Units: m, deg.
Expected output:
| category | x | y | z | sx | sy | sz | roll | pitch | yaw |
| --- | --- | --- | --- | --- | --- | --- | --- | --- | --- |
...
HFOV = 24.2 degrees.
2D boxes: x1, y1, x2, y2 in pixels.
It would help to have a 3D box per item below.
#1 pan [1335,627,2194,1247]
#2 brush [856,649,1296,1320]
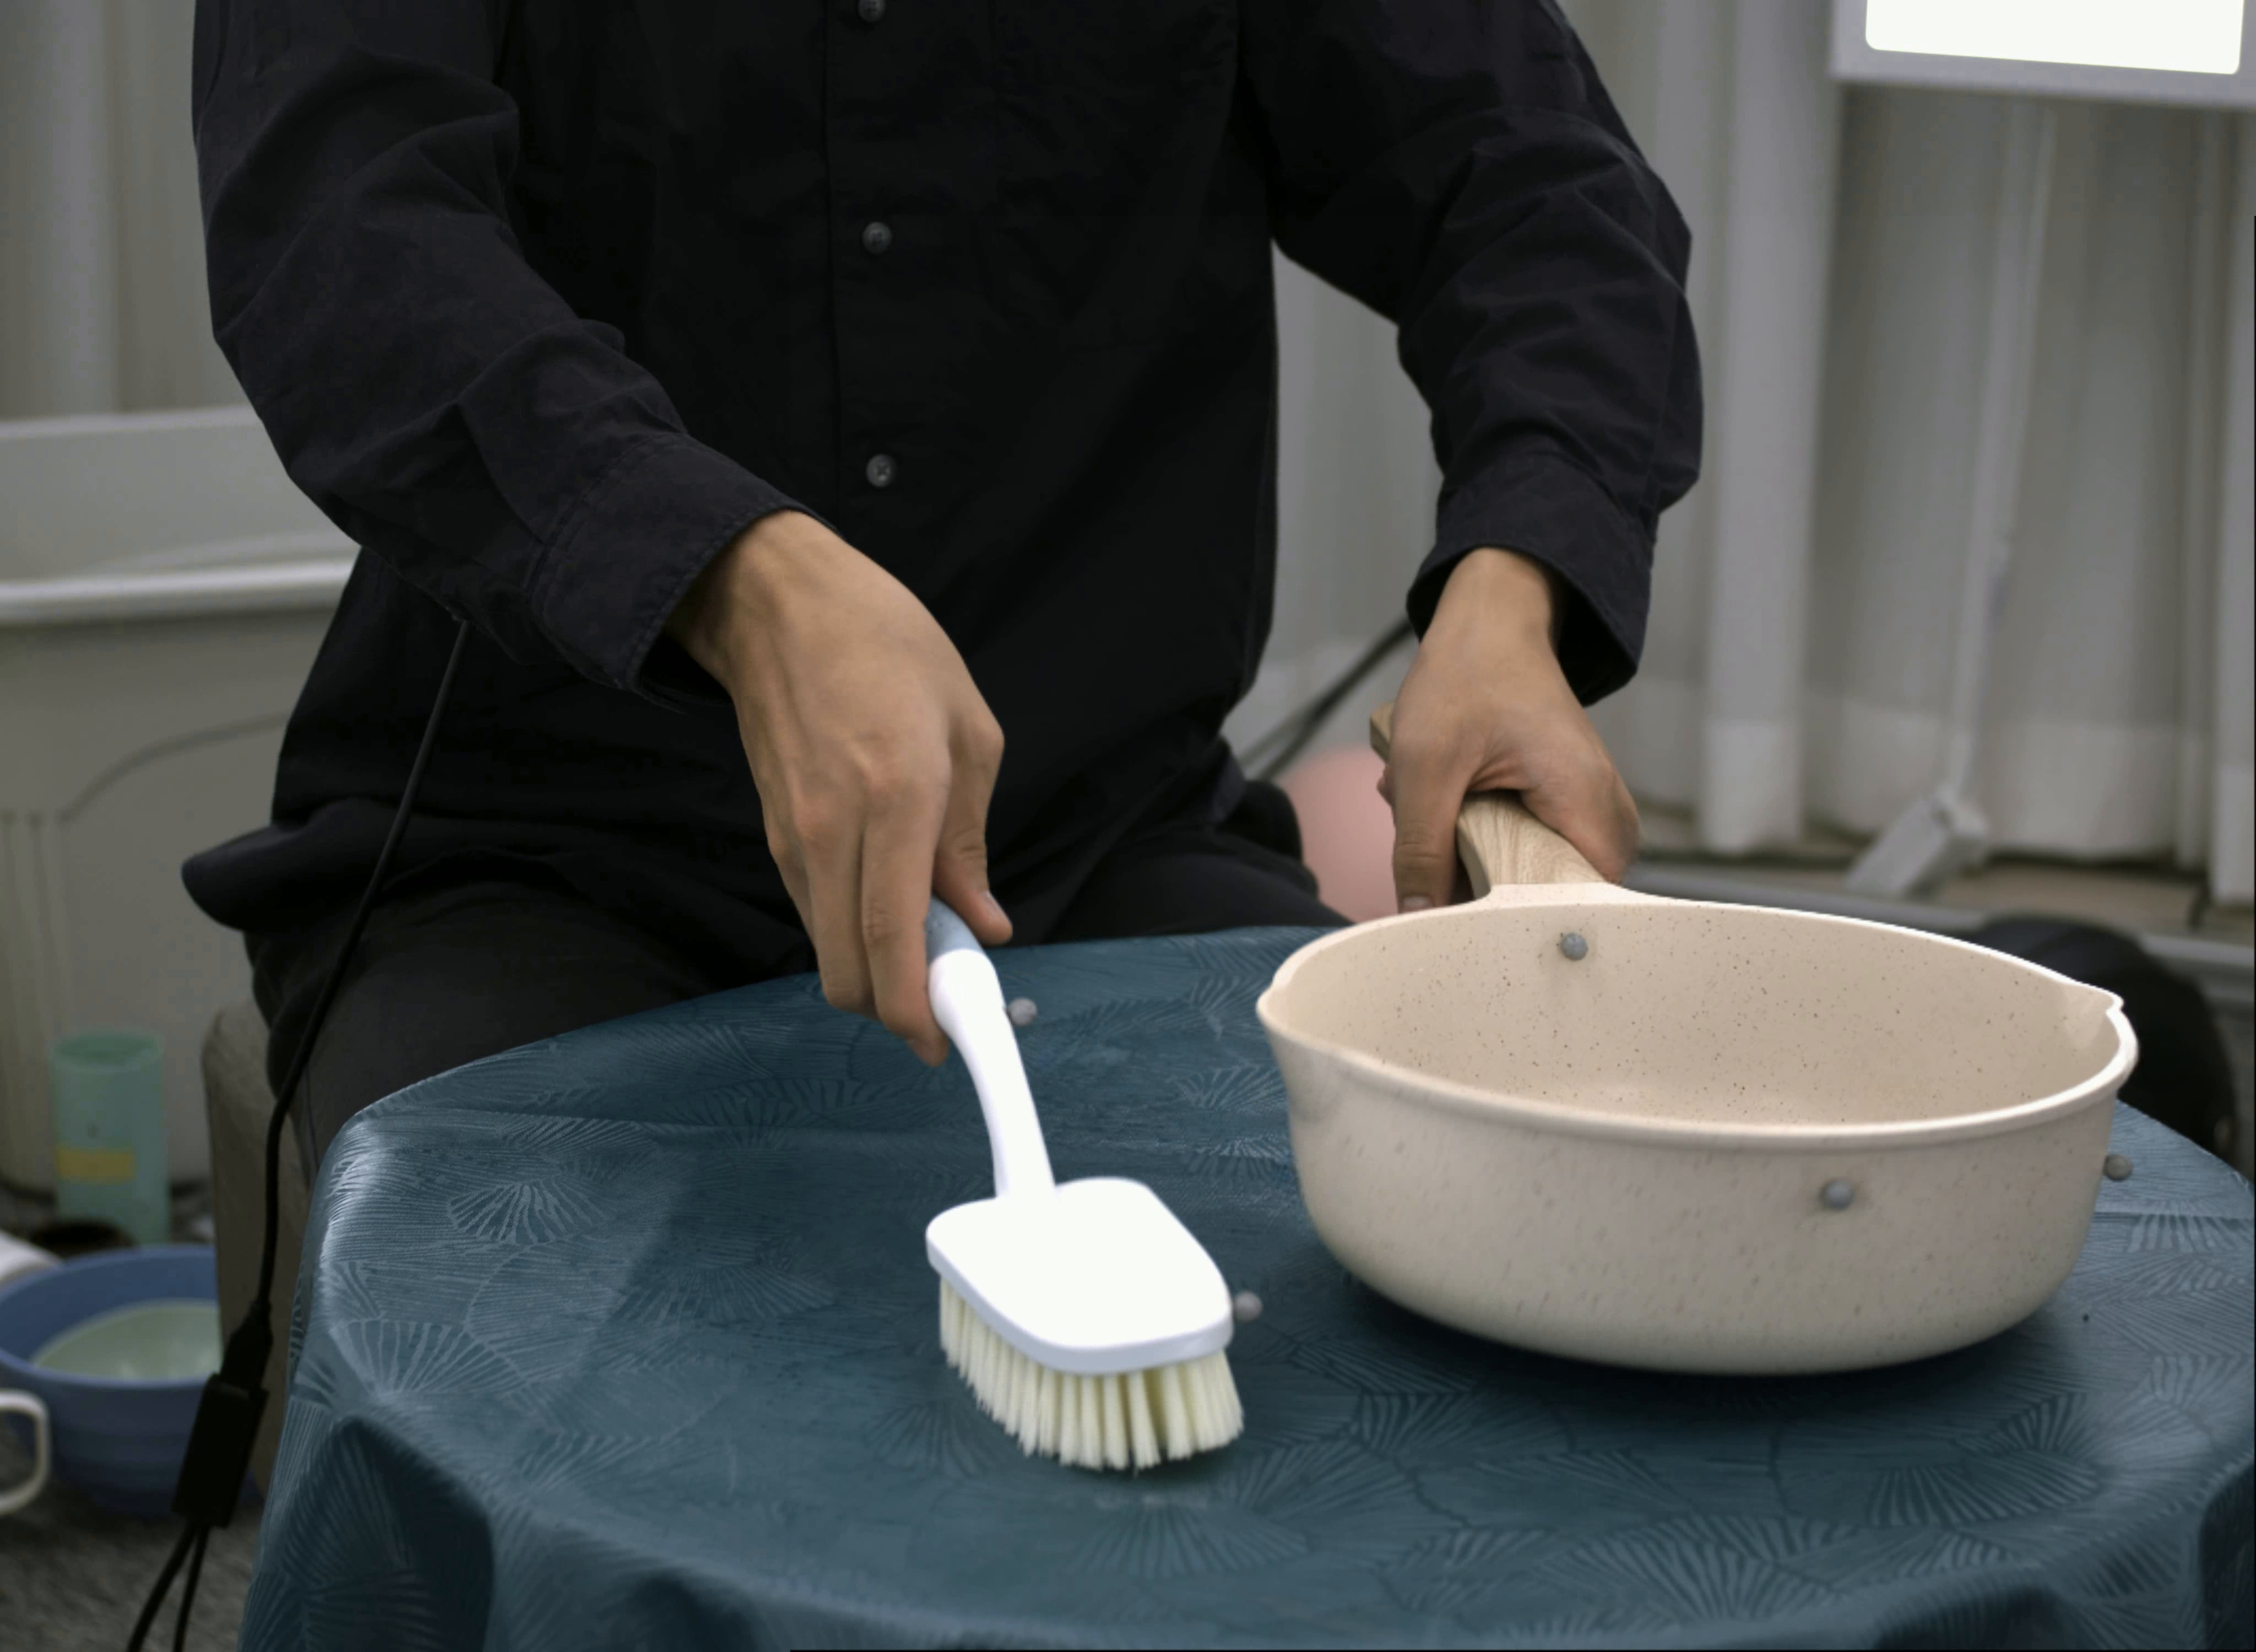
| category | x | y | z | sx | sy | sz | roll | pitch | yaw |
| --- | --- | --- | --- | --- | --- | --- | --- | --- | --- |
| pan | 0.166 | 0.030 | 1.654 | 0.264 | 0.103 | 0.431 | -2 | 14 | -14 |
| brush | -0.021 | 0.057 | 1.567 | 0.084 | 0.085 | 0.321 | 28 | 16 | -33 |
